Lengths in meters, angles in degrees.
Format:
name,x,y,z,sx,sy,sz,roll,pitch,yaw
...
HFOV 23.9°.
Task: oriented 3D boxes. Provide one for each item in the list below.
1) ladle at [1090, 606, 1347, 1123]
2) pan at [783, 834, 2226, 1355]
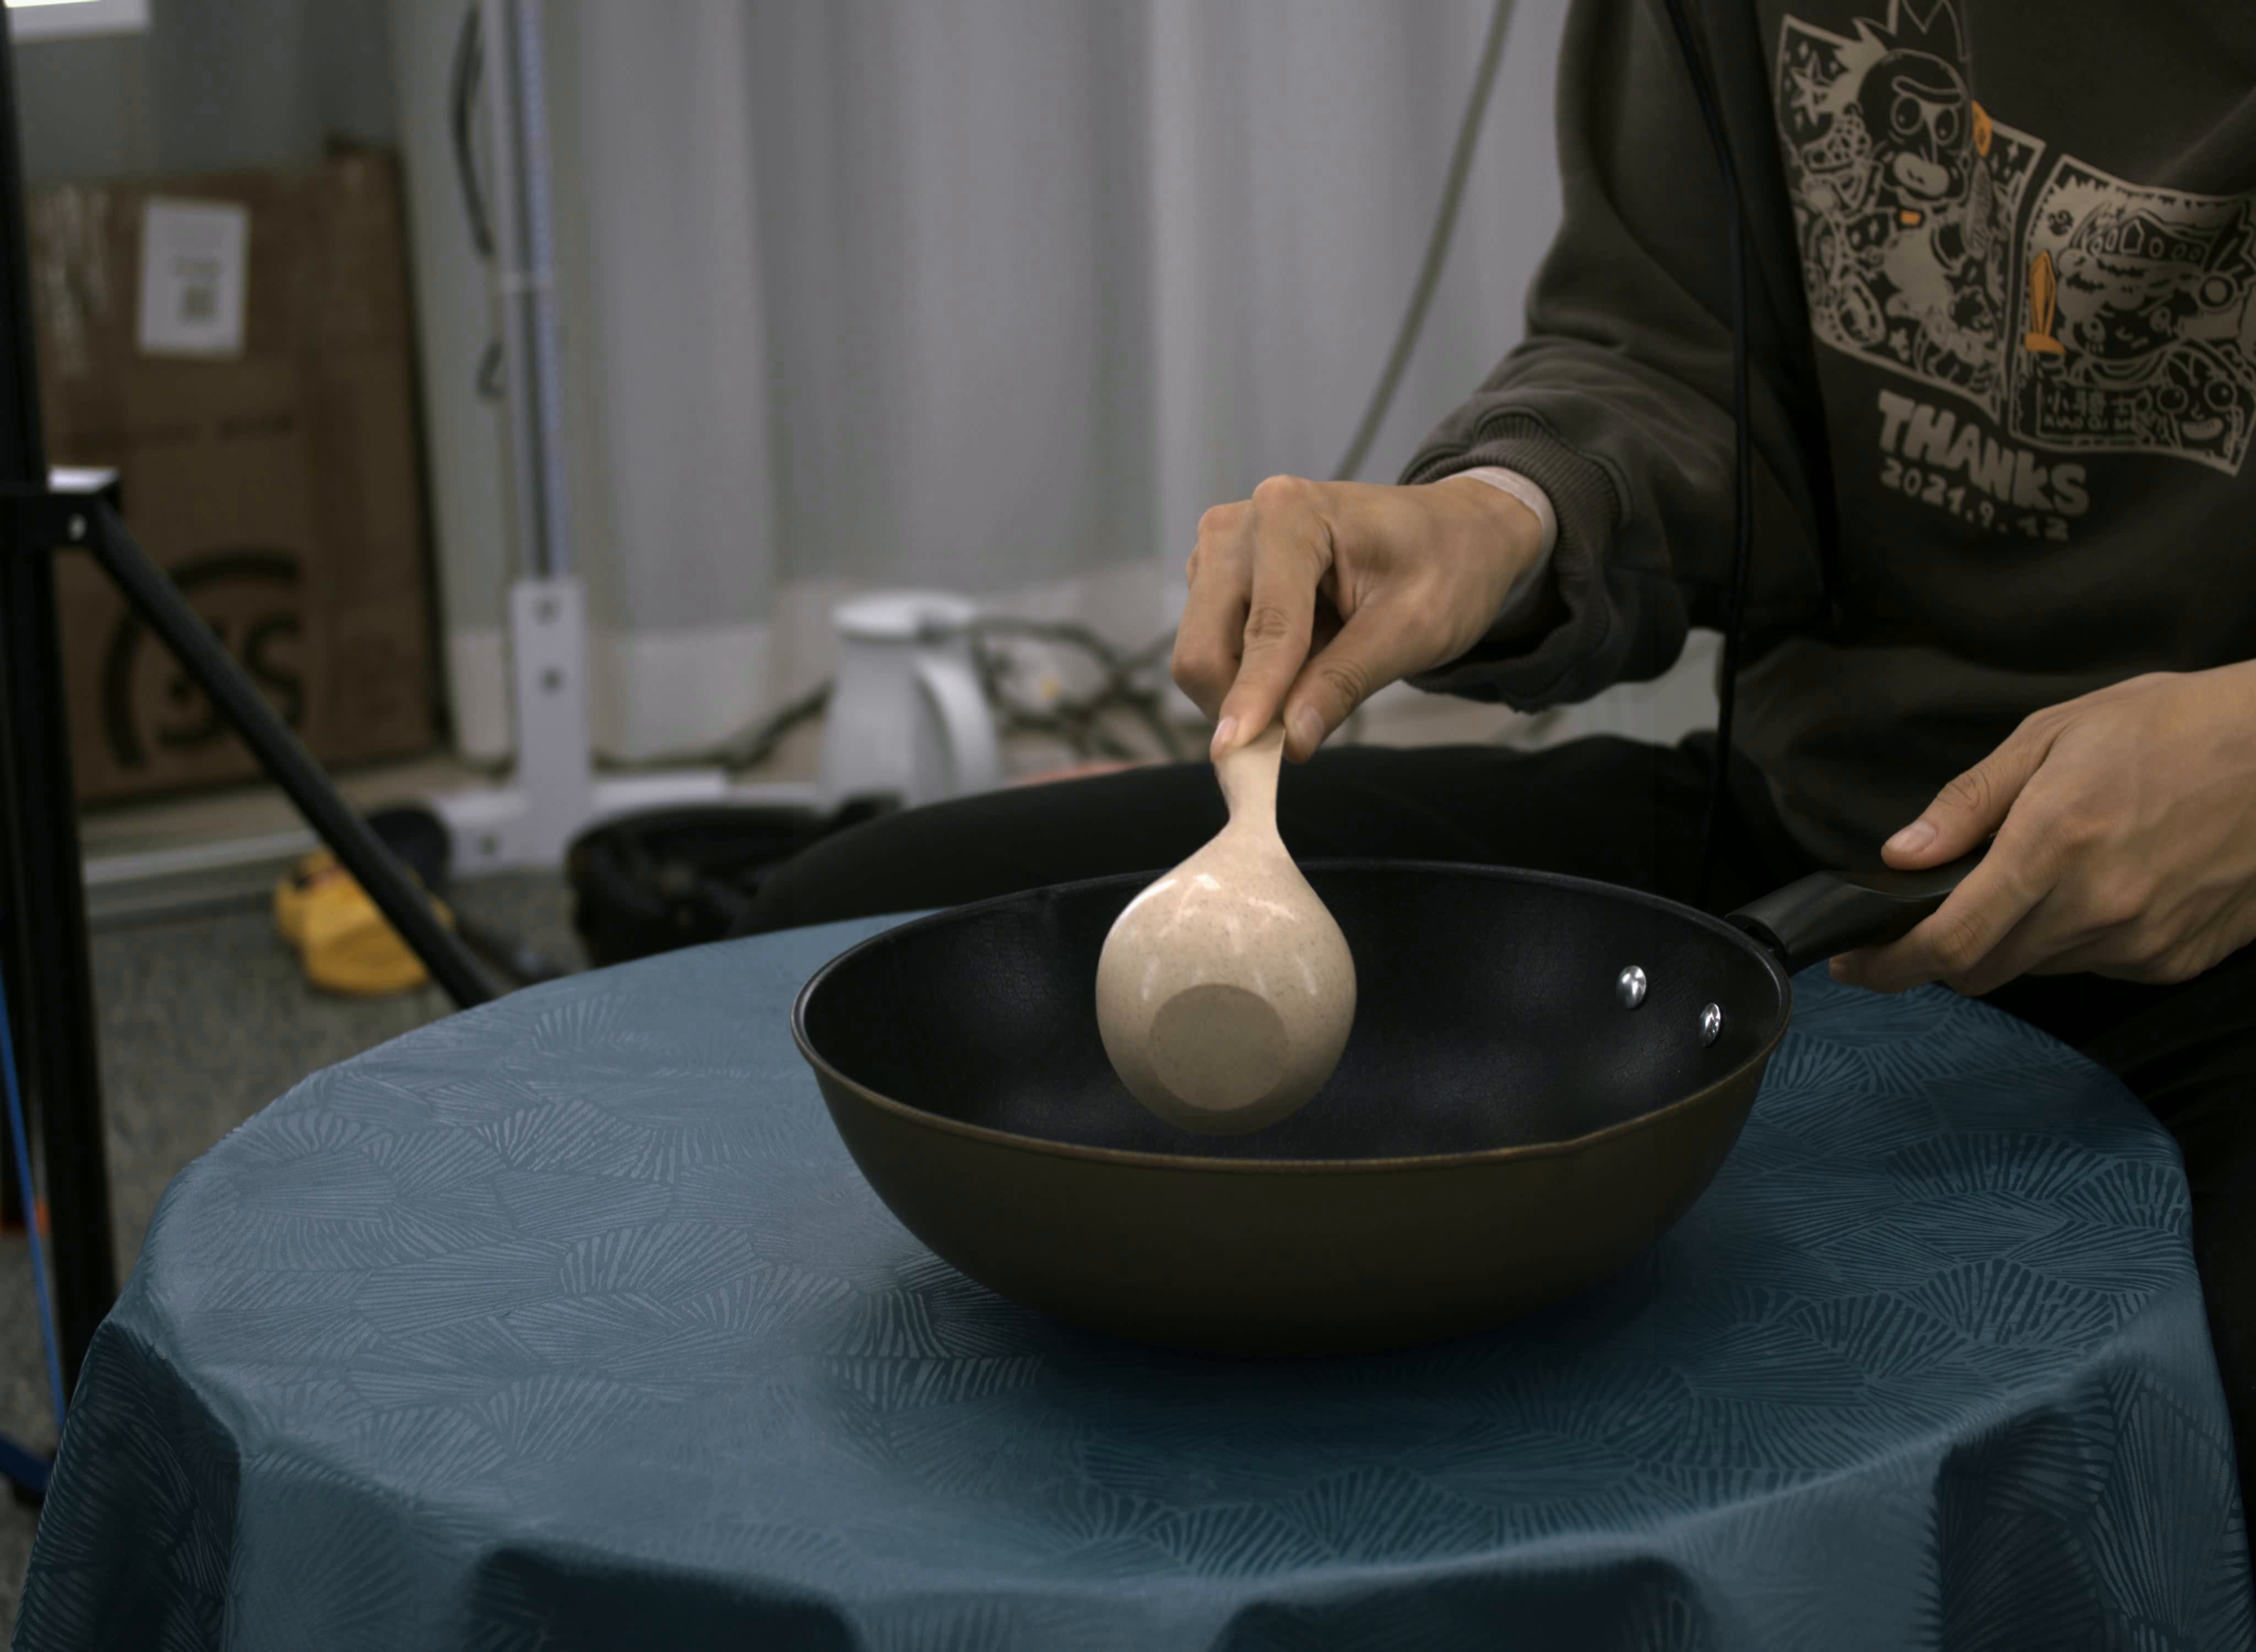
name,x,y,z,sx,sy,sz,roll,pitch,yaw
ladle,0.036,0.010,1.562,0.072,0.073,0.254,7,21,4
pan,0.124,0.070,1.525,0.453,0.087,0.294,-9,17,-25
